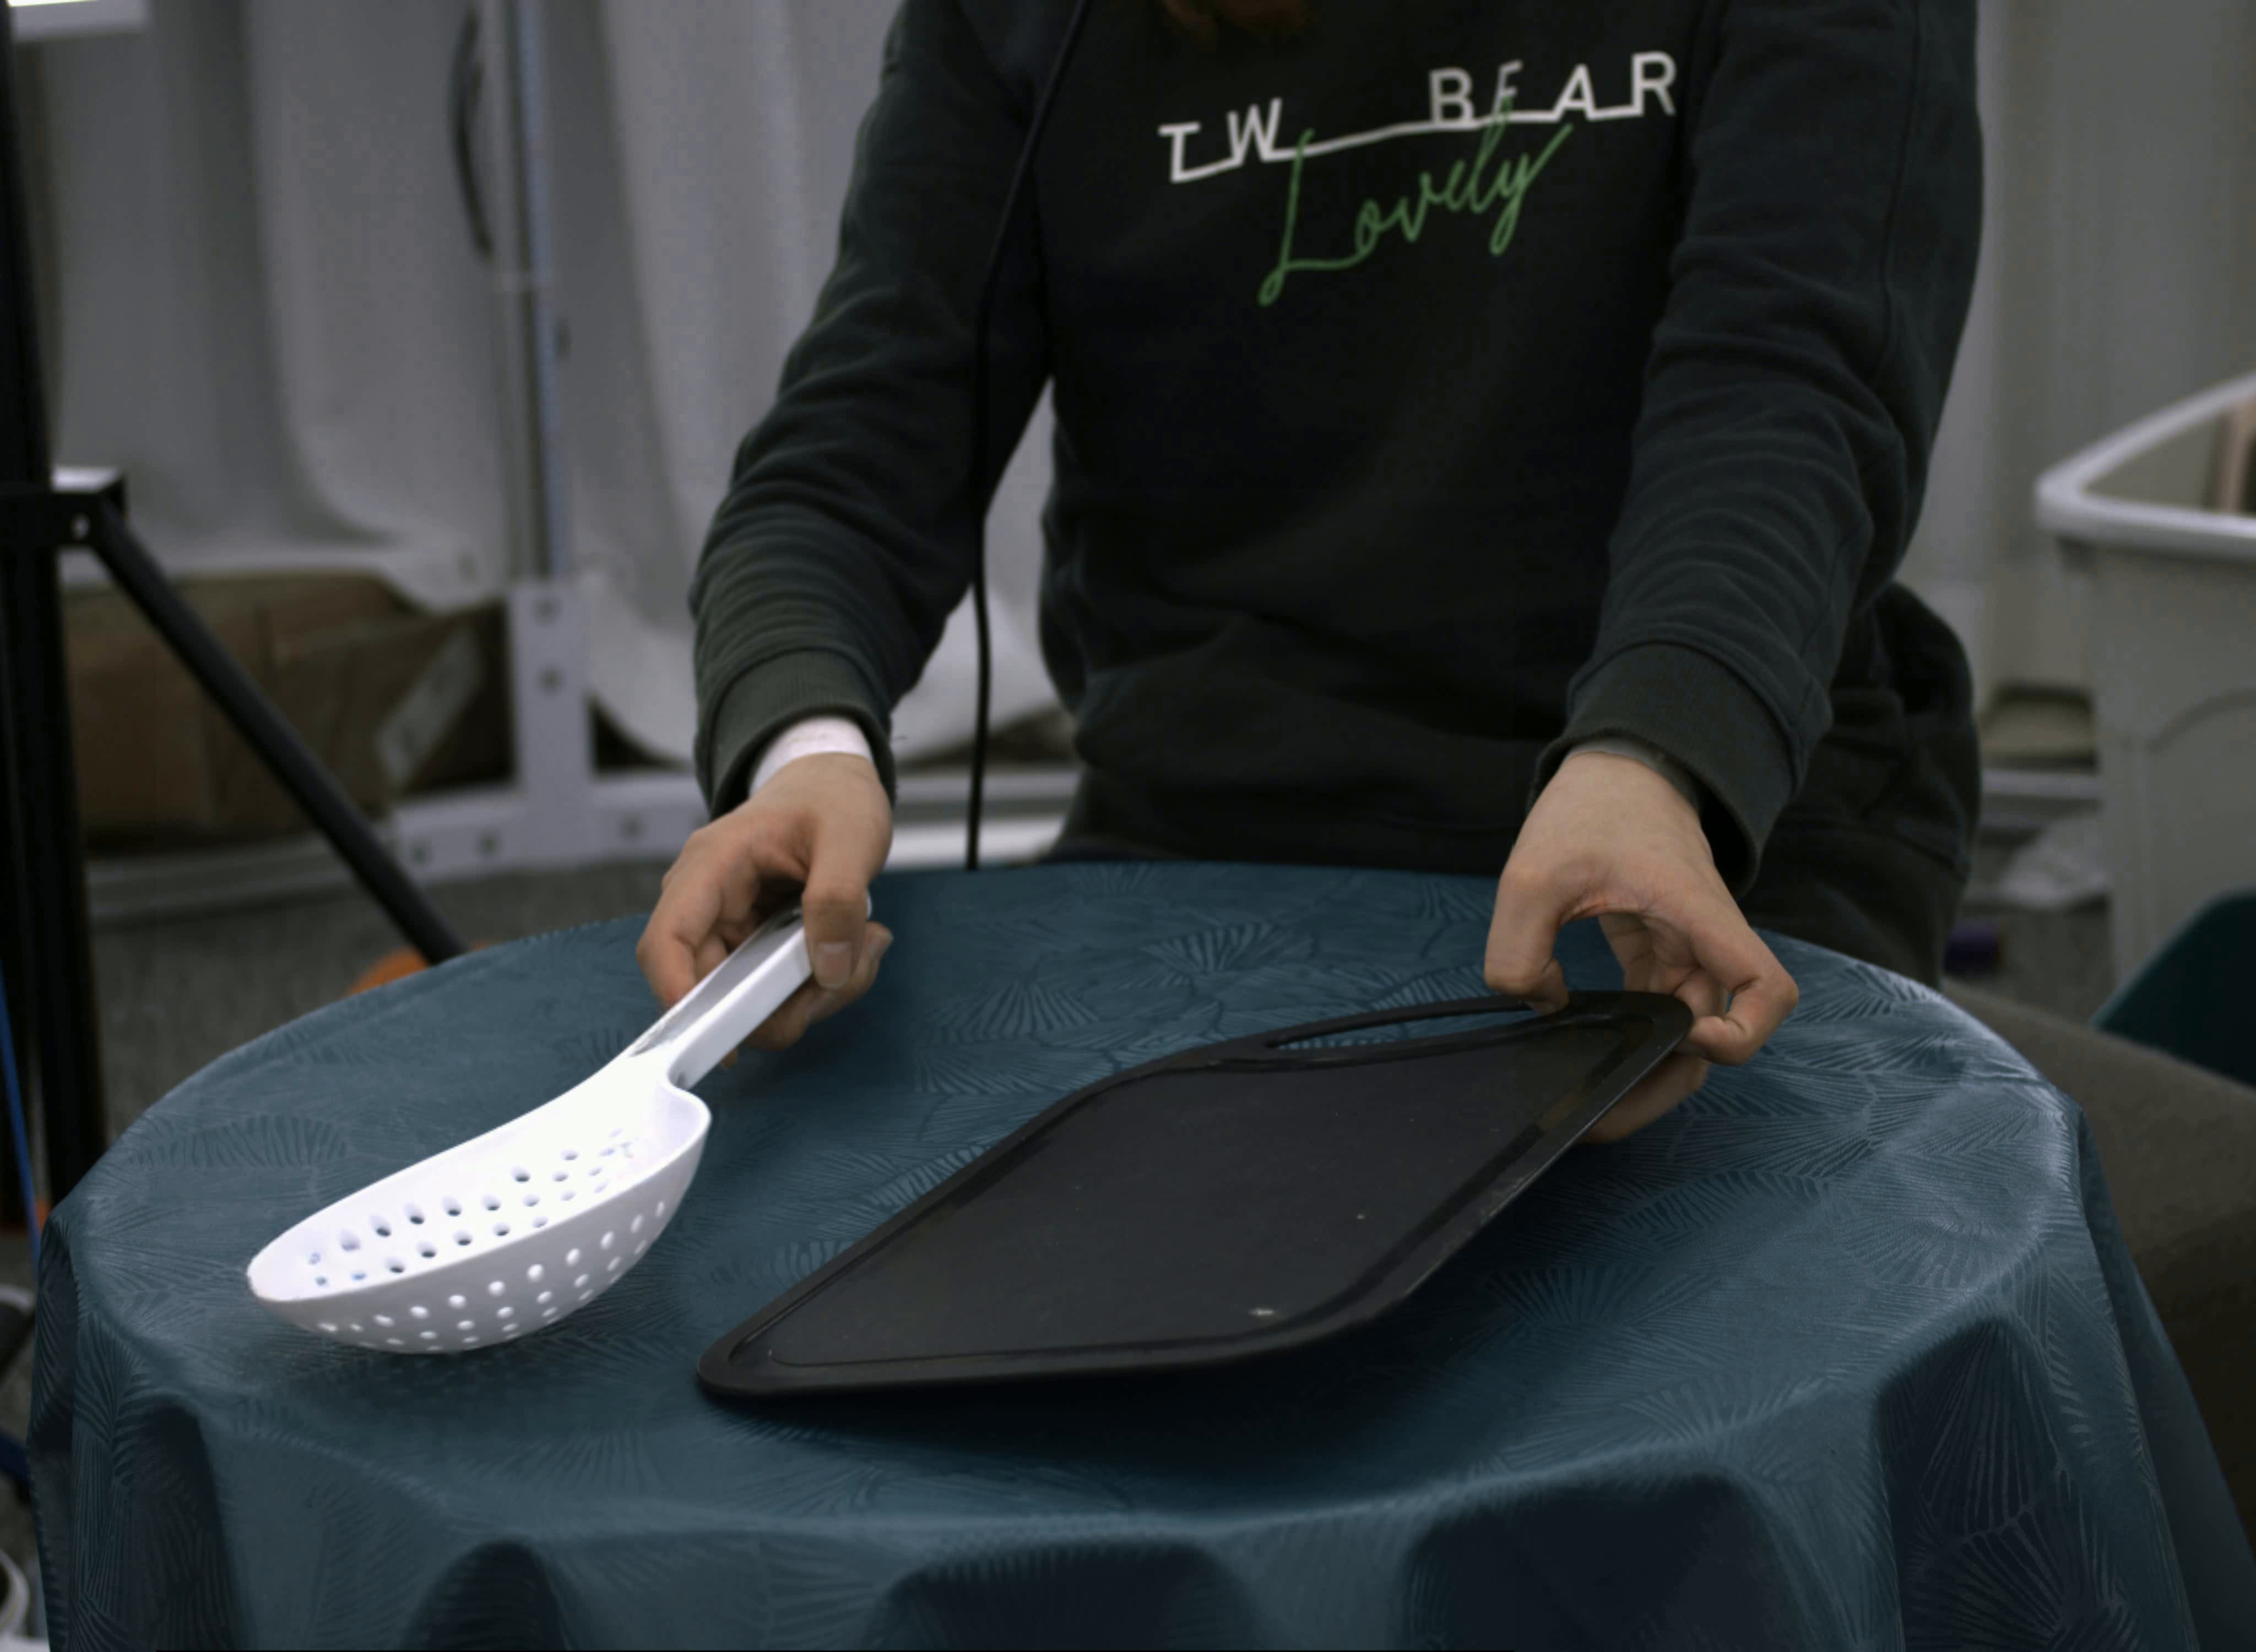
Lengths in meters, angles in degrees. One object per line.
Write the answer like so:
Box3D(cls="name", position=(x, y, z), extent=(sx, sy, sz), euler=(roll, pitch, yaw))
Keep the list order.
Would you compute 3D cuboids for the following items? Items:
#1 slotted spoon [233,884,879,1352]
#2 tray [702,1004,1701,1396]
Box3D(cls="slotted spoon", position=(-0.145, 0.077, 1.557), extent=(0.137, 0.045, 0.347), euler=(-14, 16, 22))
Box3D(cls="tray", position=(0.030, 0.100, 1.498), extent=(0.214, 0.010, 0.320), euler=(-6, 13, 29))
